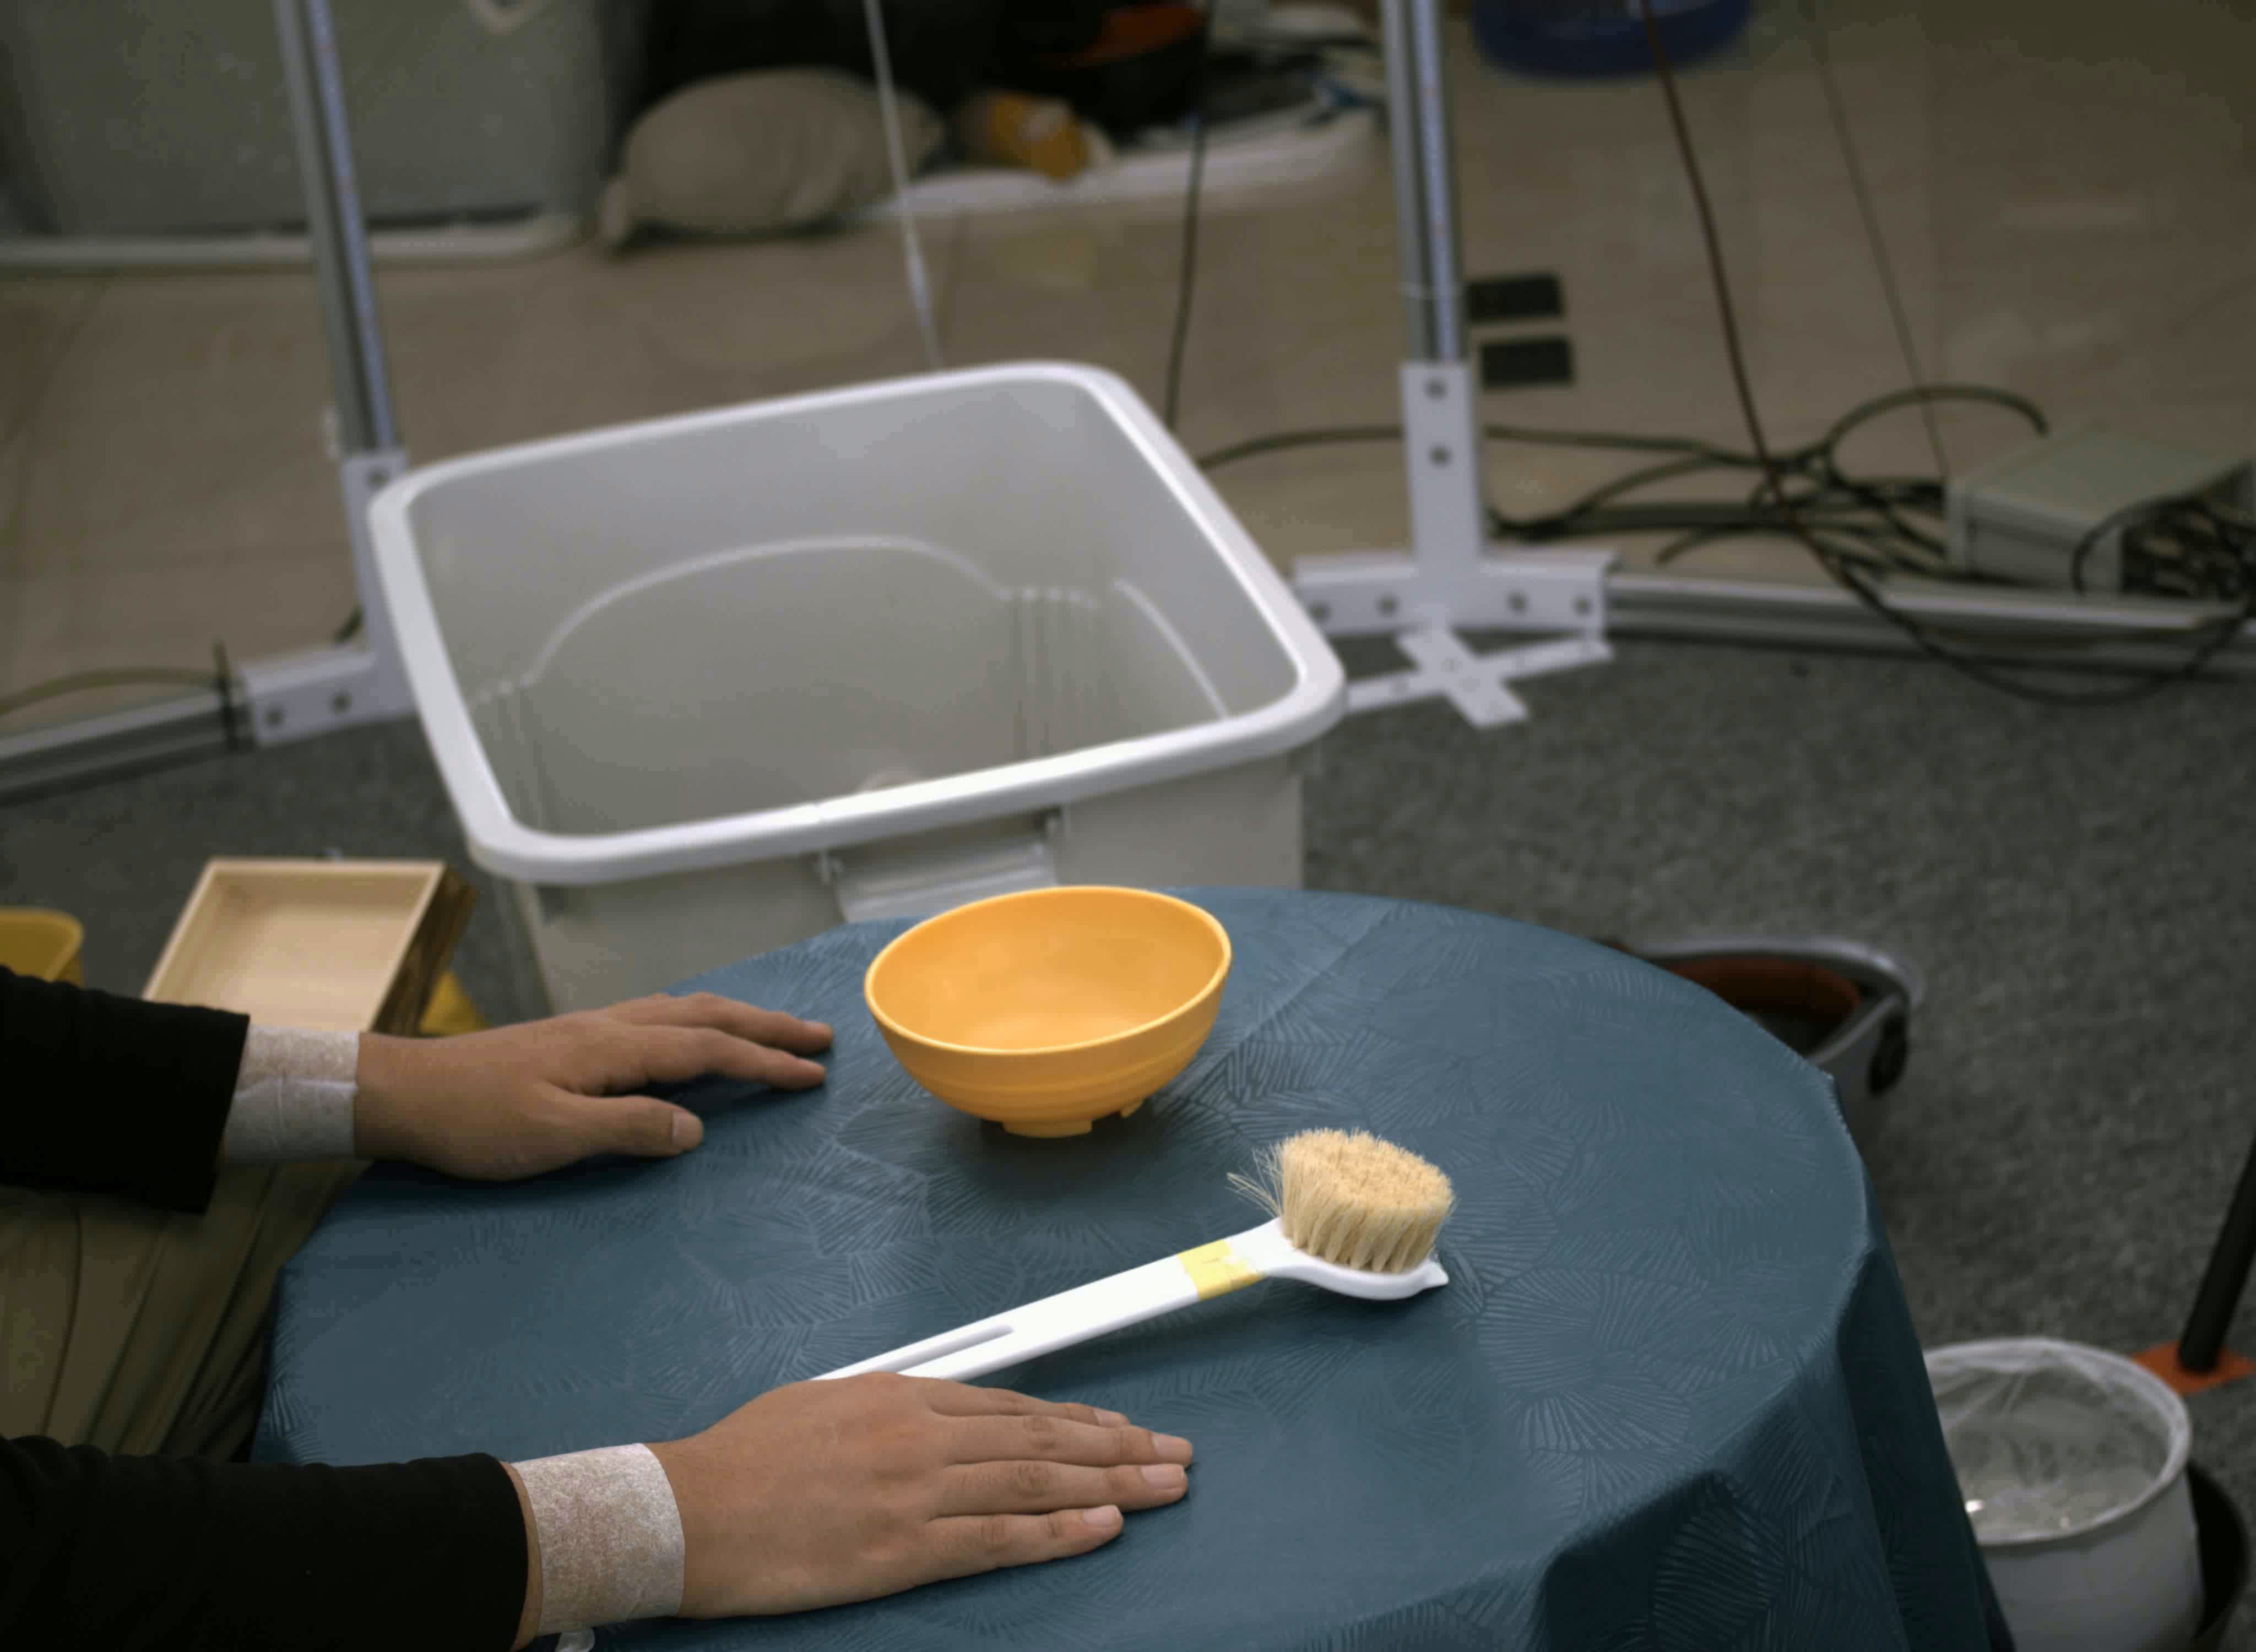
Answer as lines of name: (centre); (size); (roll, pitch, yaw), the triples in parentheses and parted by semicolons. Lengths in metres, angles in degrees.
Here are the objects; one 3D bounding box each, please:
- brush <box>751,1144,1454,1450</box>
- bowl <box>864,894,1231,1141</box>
brush: (-0.009, 0.166, 2.028); (0.266, 0.057, 0.068); (-13, 21, -11)
bowl: (-0.028, 0.082, 2.209); (0.145, 0.061, 0.143); (-6, 24, 3)
